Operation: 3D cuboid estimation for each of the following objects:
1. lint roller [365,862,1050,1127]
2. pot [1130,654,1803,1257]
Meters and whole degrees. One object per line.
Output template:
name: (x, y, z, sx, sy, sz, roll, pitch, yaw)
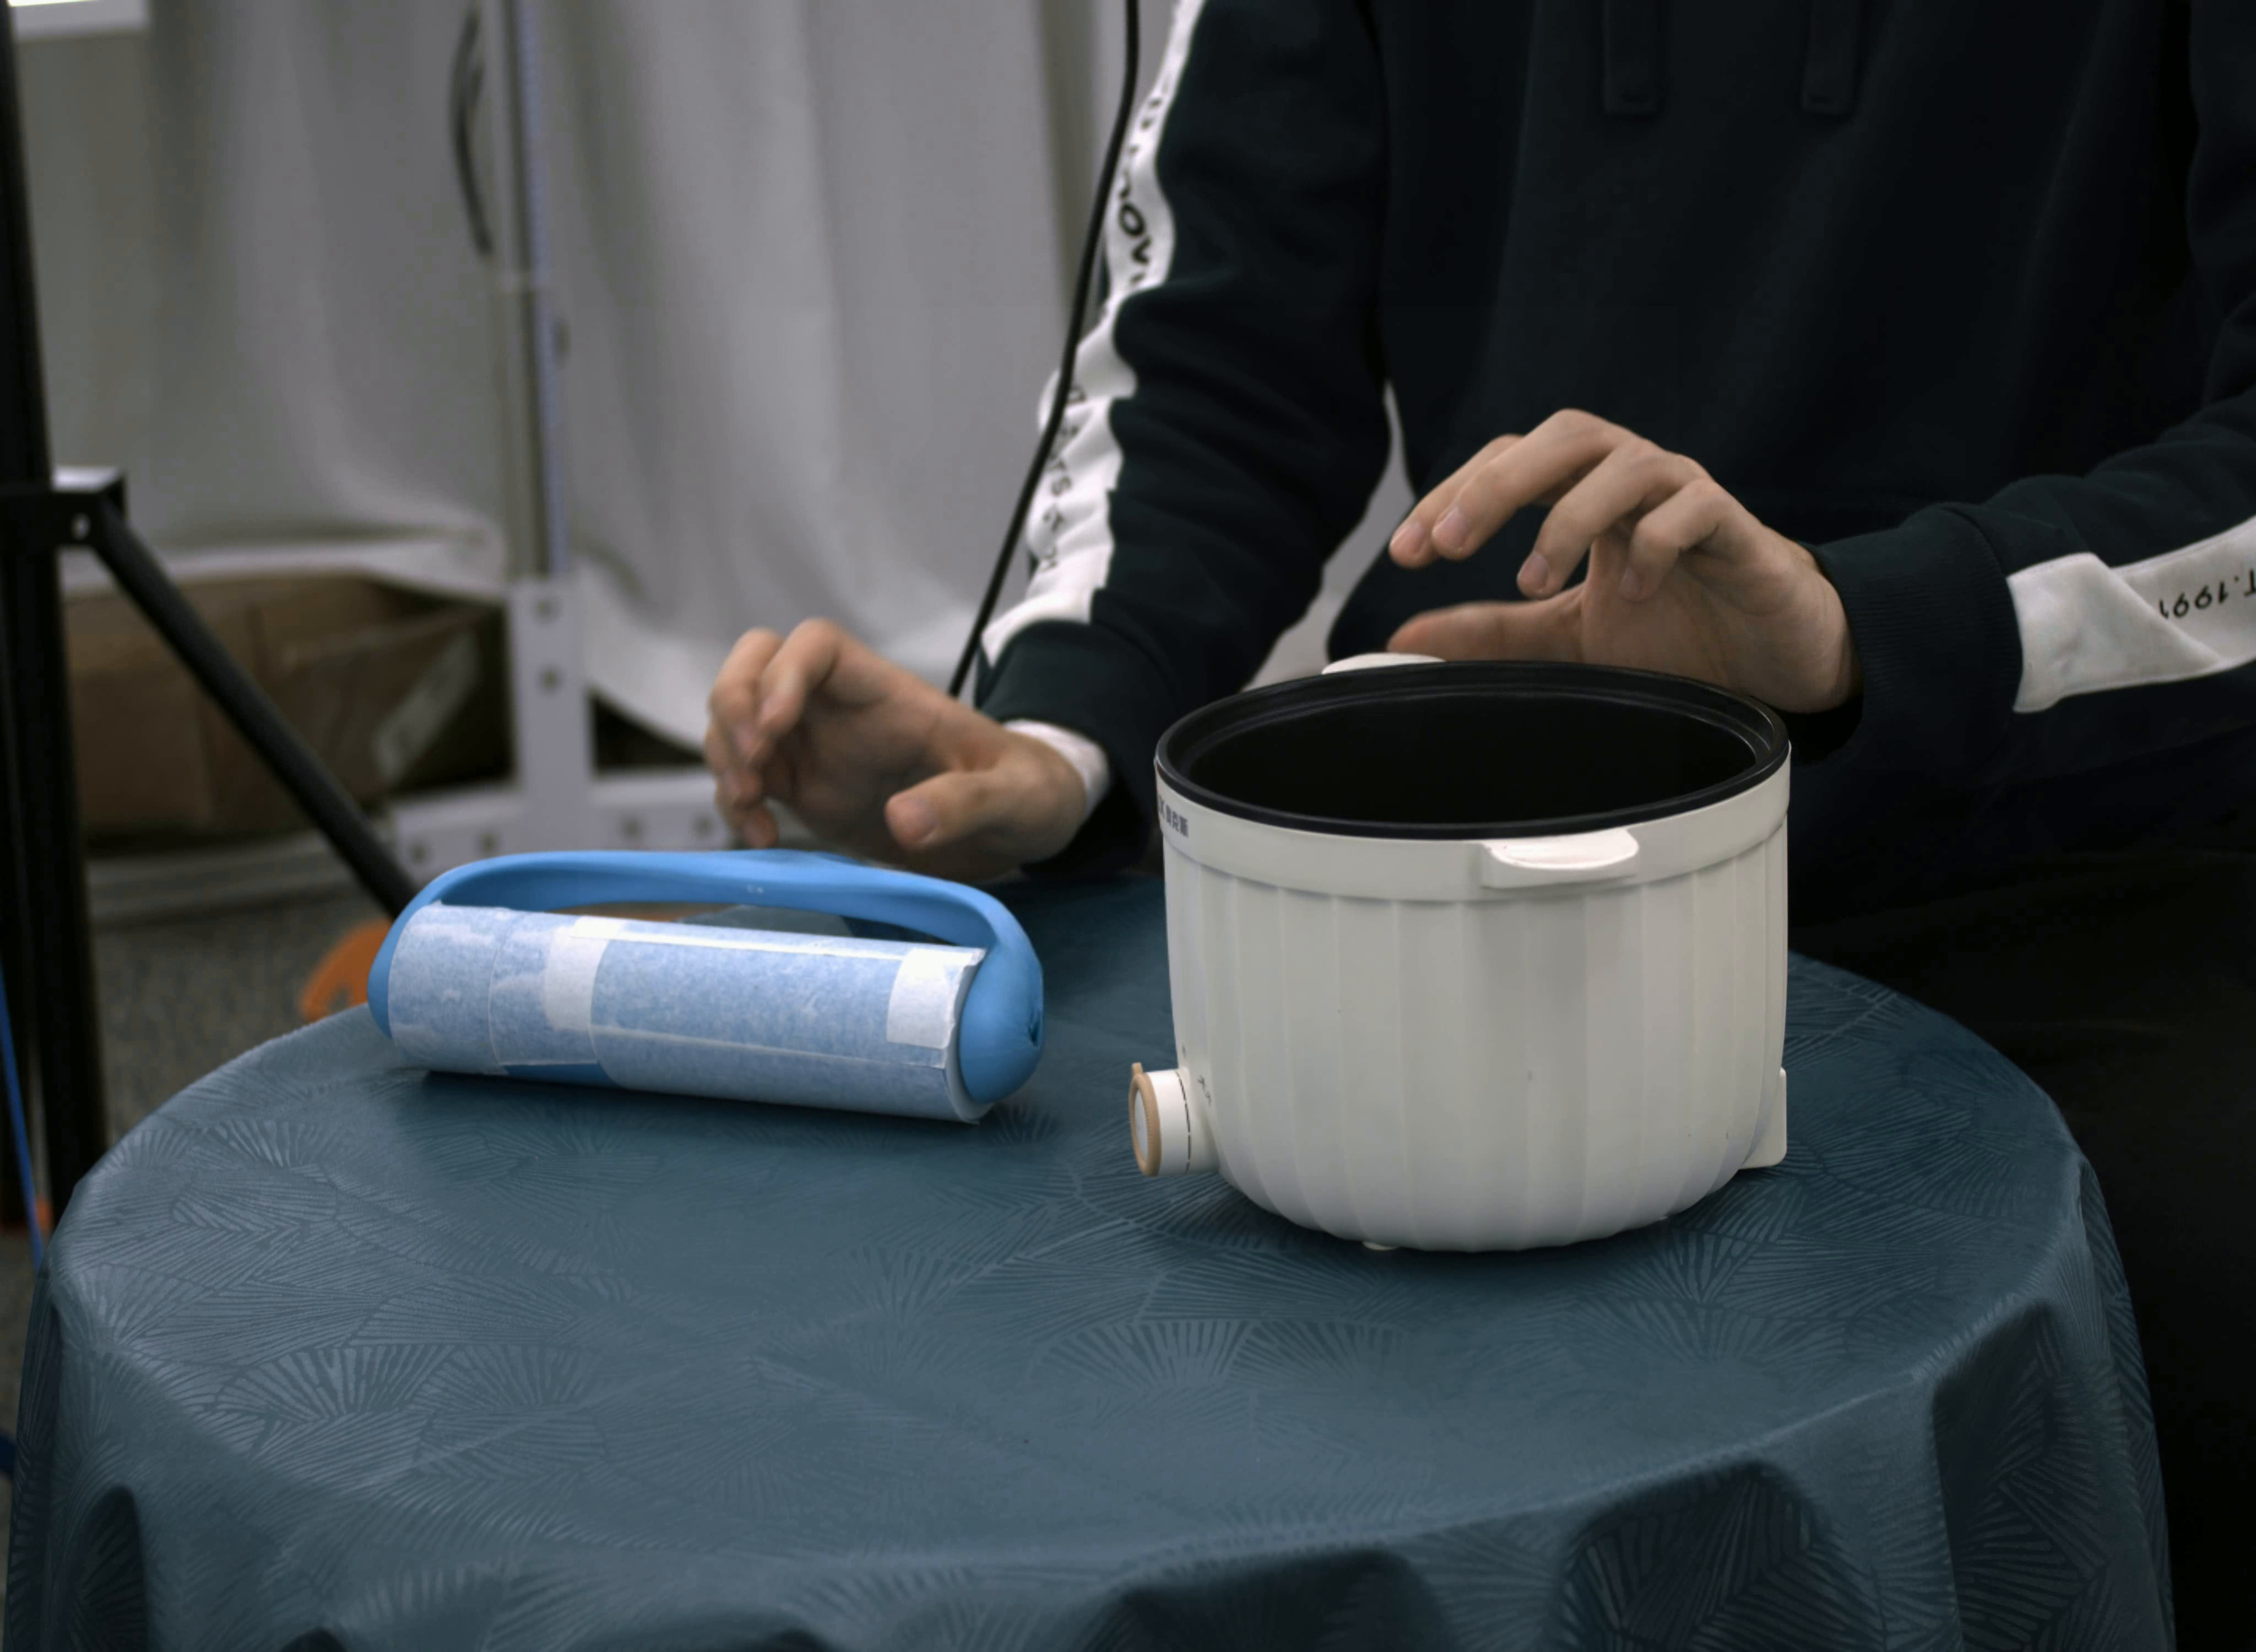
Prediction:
lint roller: (-0.115, 0.042, 1.710, 0.231, 0.068, 0.178, 1, 17, 20)
pot: (0.096, 0.041, 1.525, 0.188, 0.143, 0.243, -3, 14, -11)
